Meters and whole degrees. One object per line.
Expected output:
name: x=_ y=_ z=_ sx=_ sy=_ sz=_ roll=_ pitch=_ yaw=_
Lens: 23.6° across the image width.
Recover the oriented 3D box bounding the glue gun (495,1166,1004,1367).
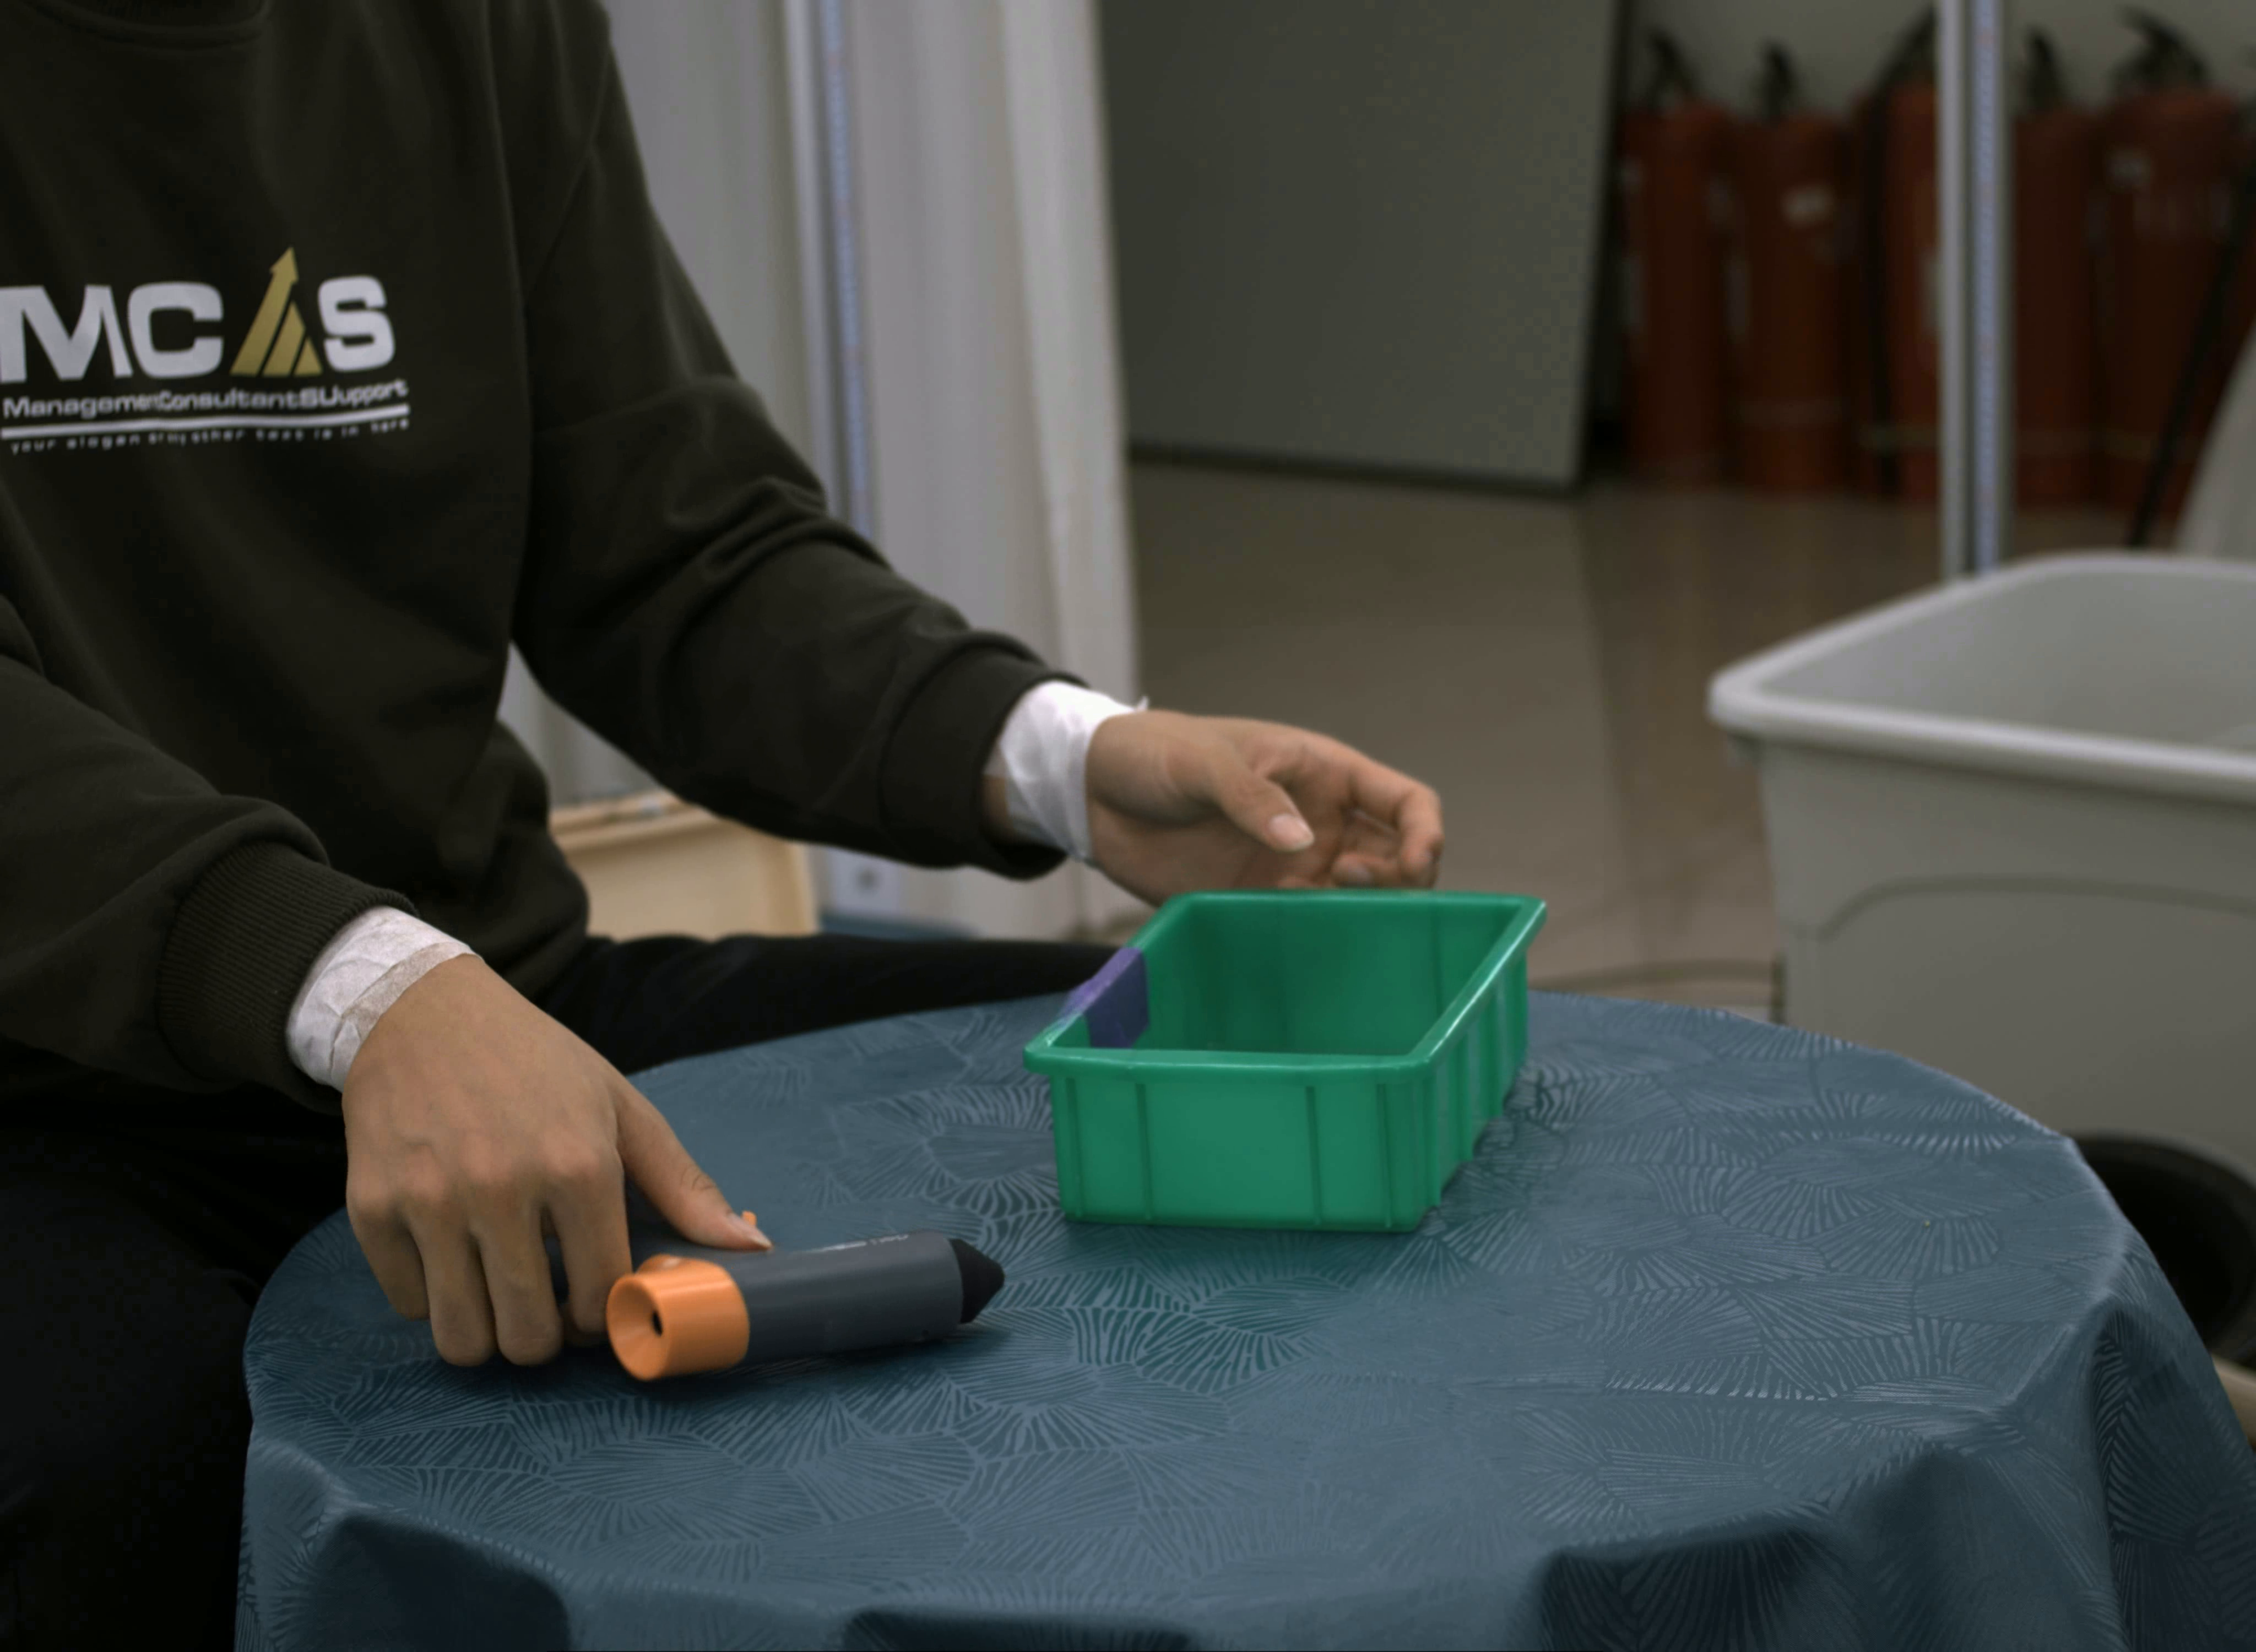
glue gun: x=-0.120 y=0.139 z=1.667 sx=0.115 sy=0.041 sz=0.141 roll=2 pitch=8 yaw=-43

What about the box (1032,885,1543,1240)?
box: x=0.058 y=0.078 z=1.806 sx=0.138 sy=0.066 sz=0.209 roll=-1 pitch=16 yaw=16
